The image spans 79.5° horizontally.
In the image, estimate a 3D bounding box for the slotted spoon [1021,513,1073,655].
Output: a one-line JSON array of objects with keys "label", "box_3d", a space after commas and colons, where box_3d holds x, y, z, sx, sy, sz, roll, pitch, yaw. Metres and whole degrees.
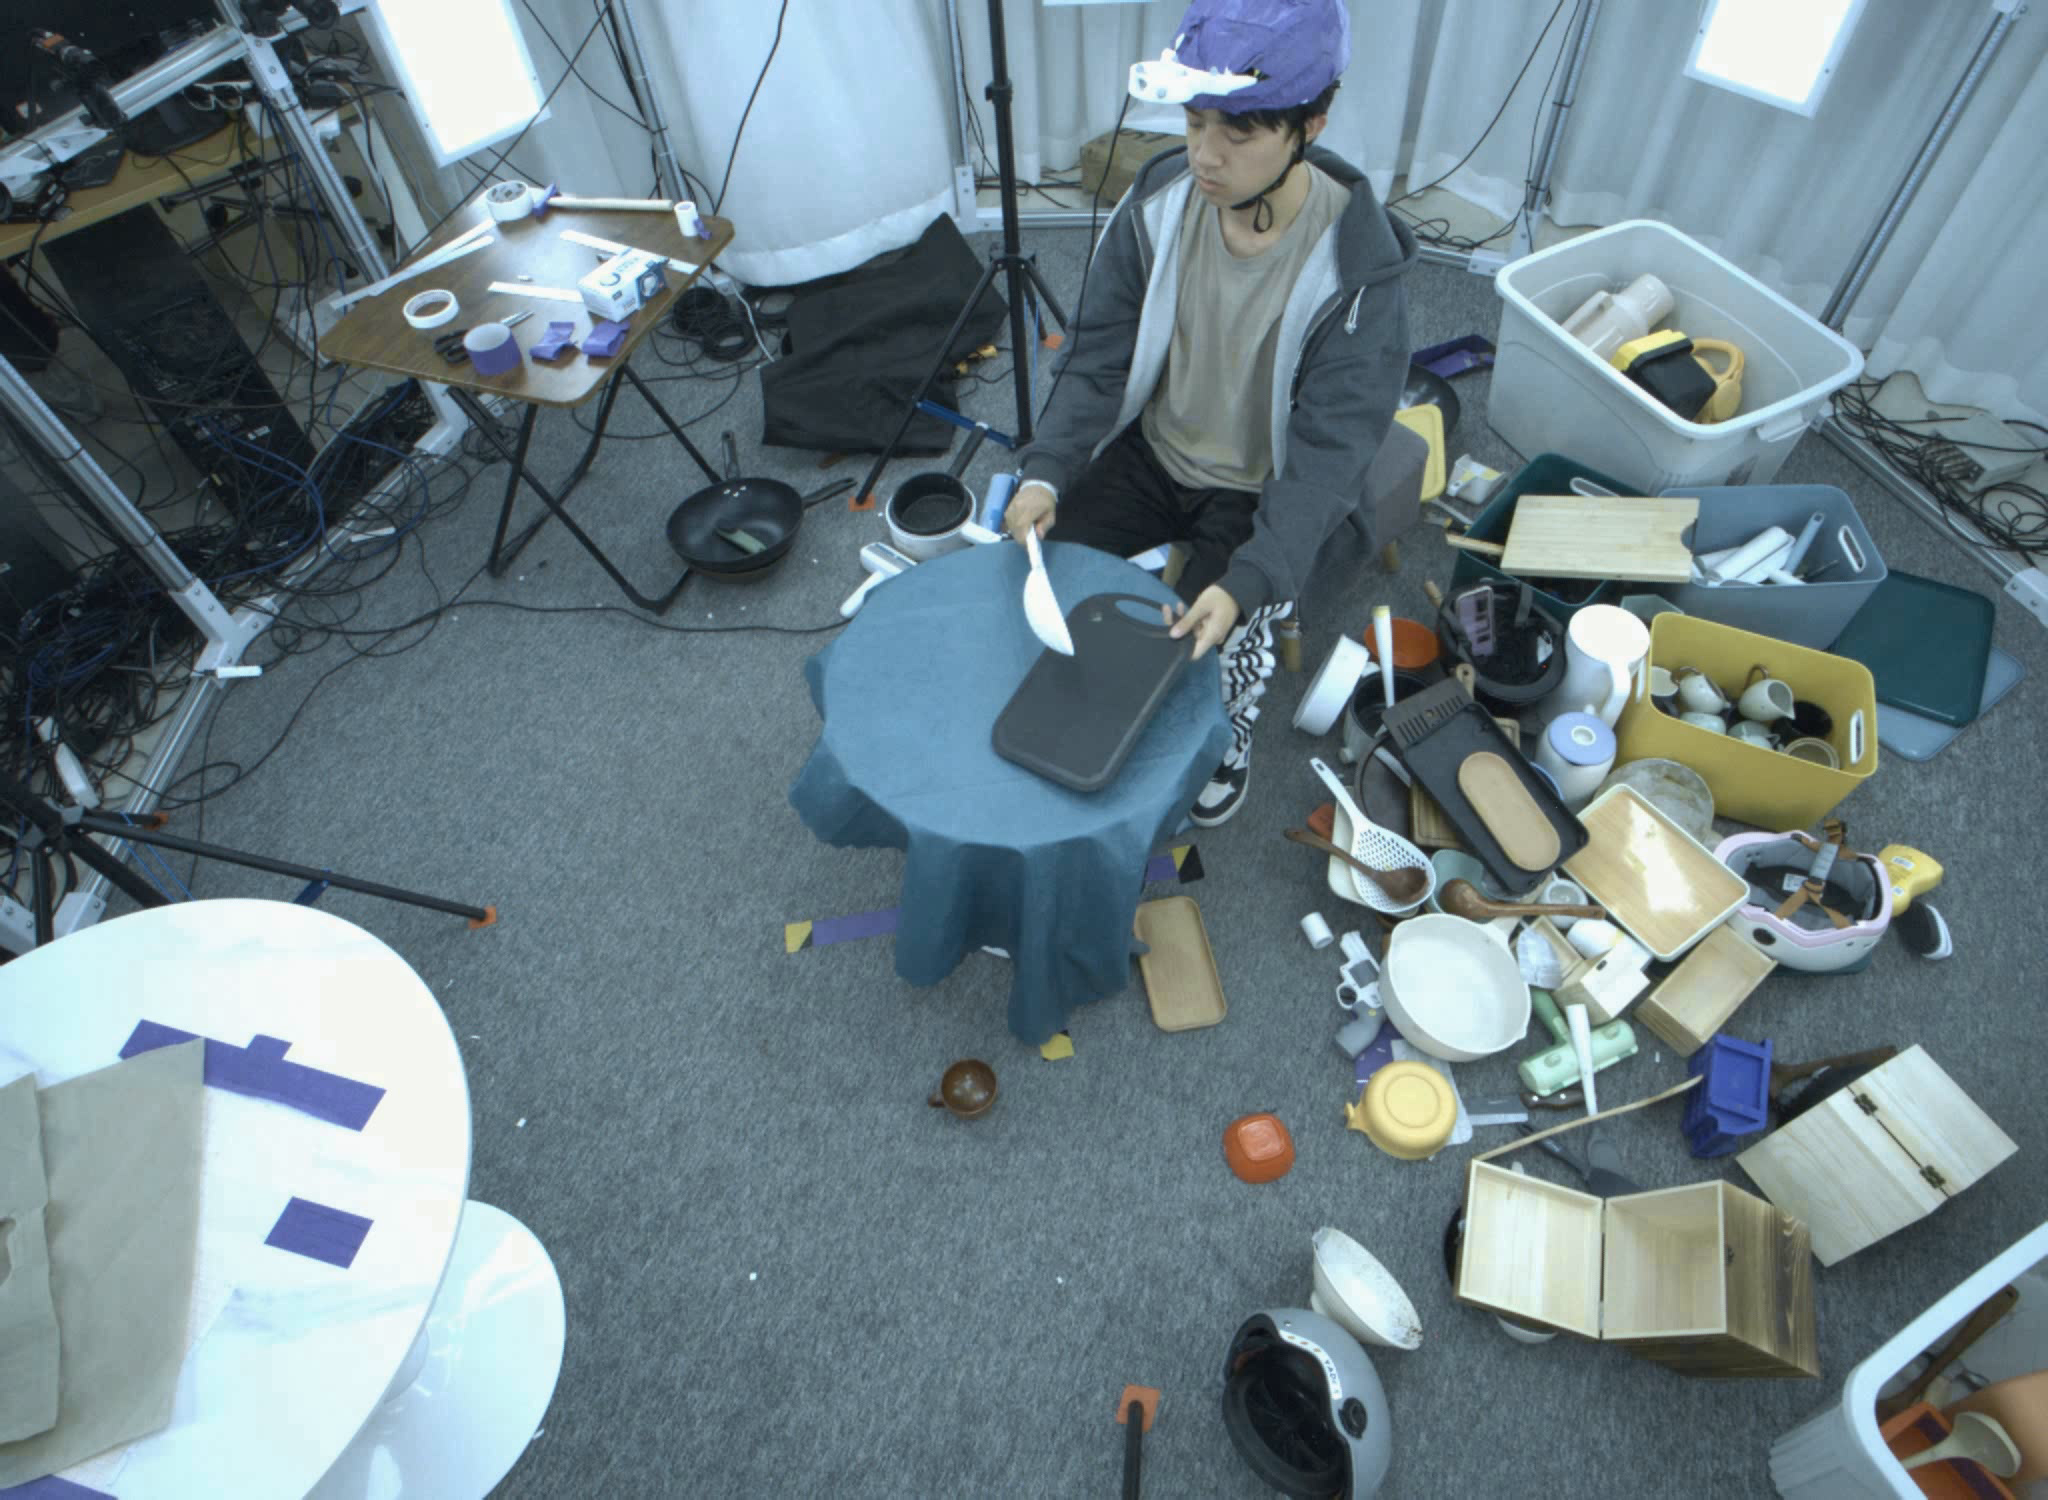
[{"label": "slotted spoon", "box_3d": [0.023, -0.261, 1.816, 0.045, 0.138, 0.345, -18, 39, 13]}]

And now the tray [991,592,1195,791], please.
[{"label": "tray", "box_3d": [0.104, -0.099, 1.796, 0.207, 0.010, 0.326, 25, 71, 25]}]
